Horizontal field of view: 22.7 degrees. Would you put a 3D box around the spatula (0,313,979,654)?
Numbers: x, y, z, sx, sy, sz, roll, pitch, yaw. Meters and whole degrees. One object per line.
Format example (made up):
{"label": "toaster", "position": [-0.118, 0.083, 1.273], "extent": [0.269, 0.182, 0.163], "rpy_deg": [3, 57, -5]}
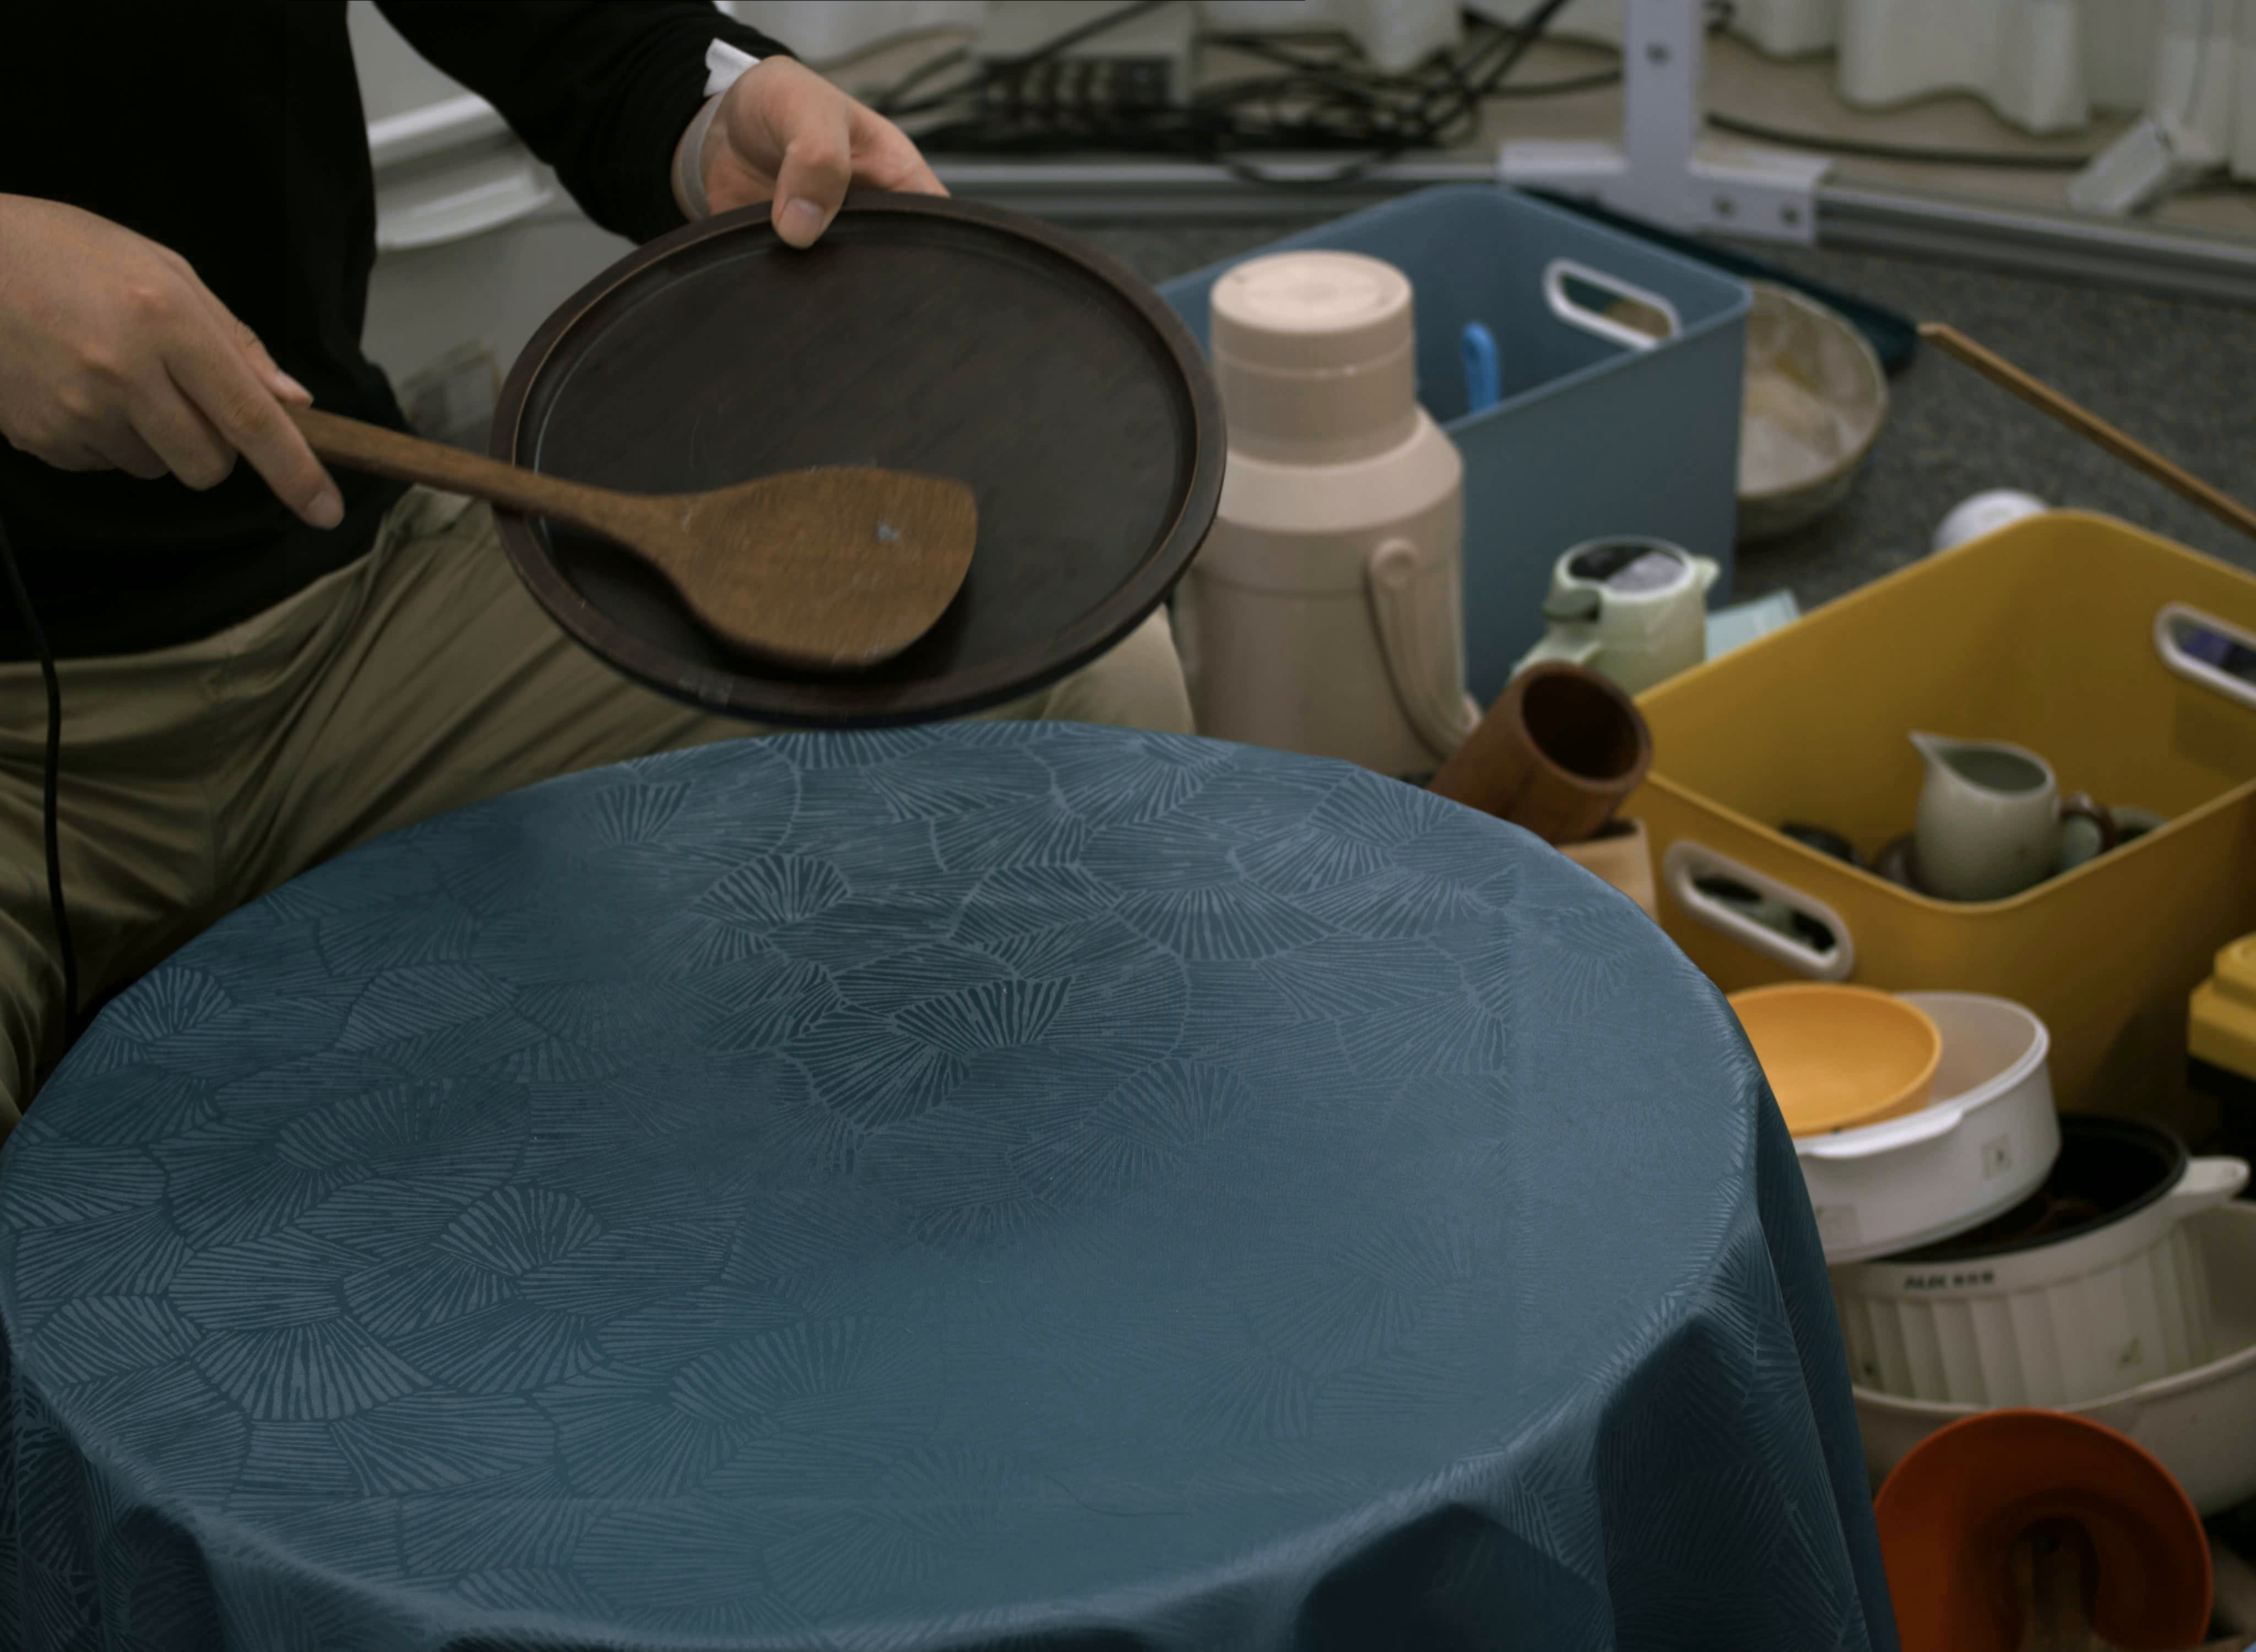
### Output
{"label": "spatula", "position": [-0.236, -0.124, 1.896], "extent": [0.384, 0.015, 0.098], "rpy_deg": [14, 46, 13]}

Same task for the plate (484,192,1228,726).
{"label": "plate", "position": [-0.092, -0.127, 1.918], "extent": [0.253, 0.028, 0.260], "rpy_deg": [1, 48, 0]}
